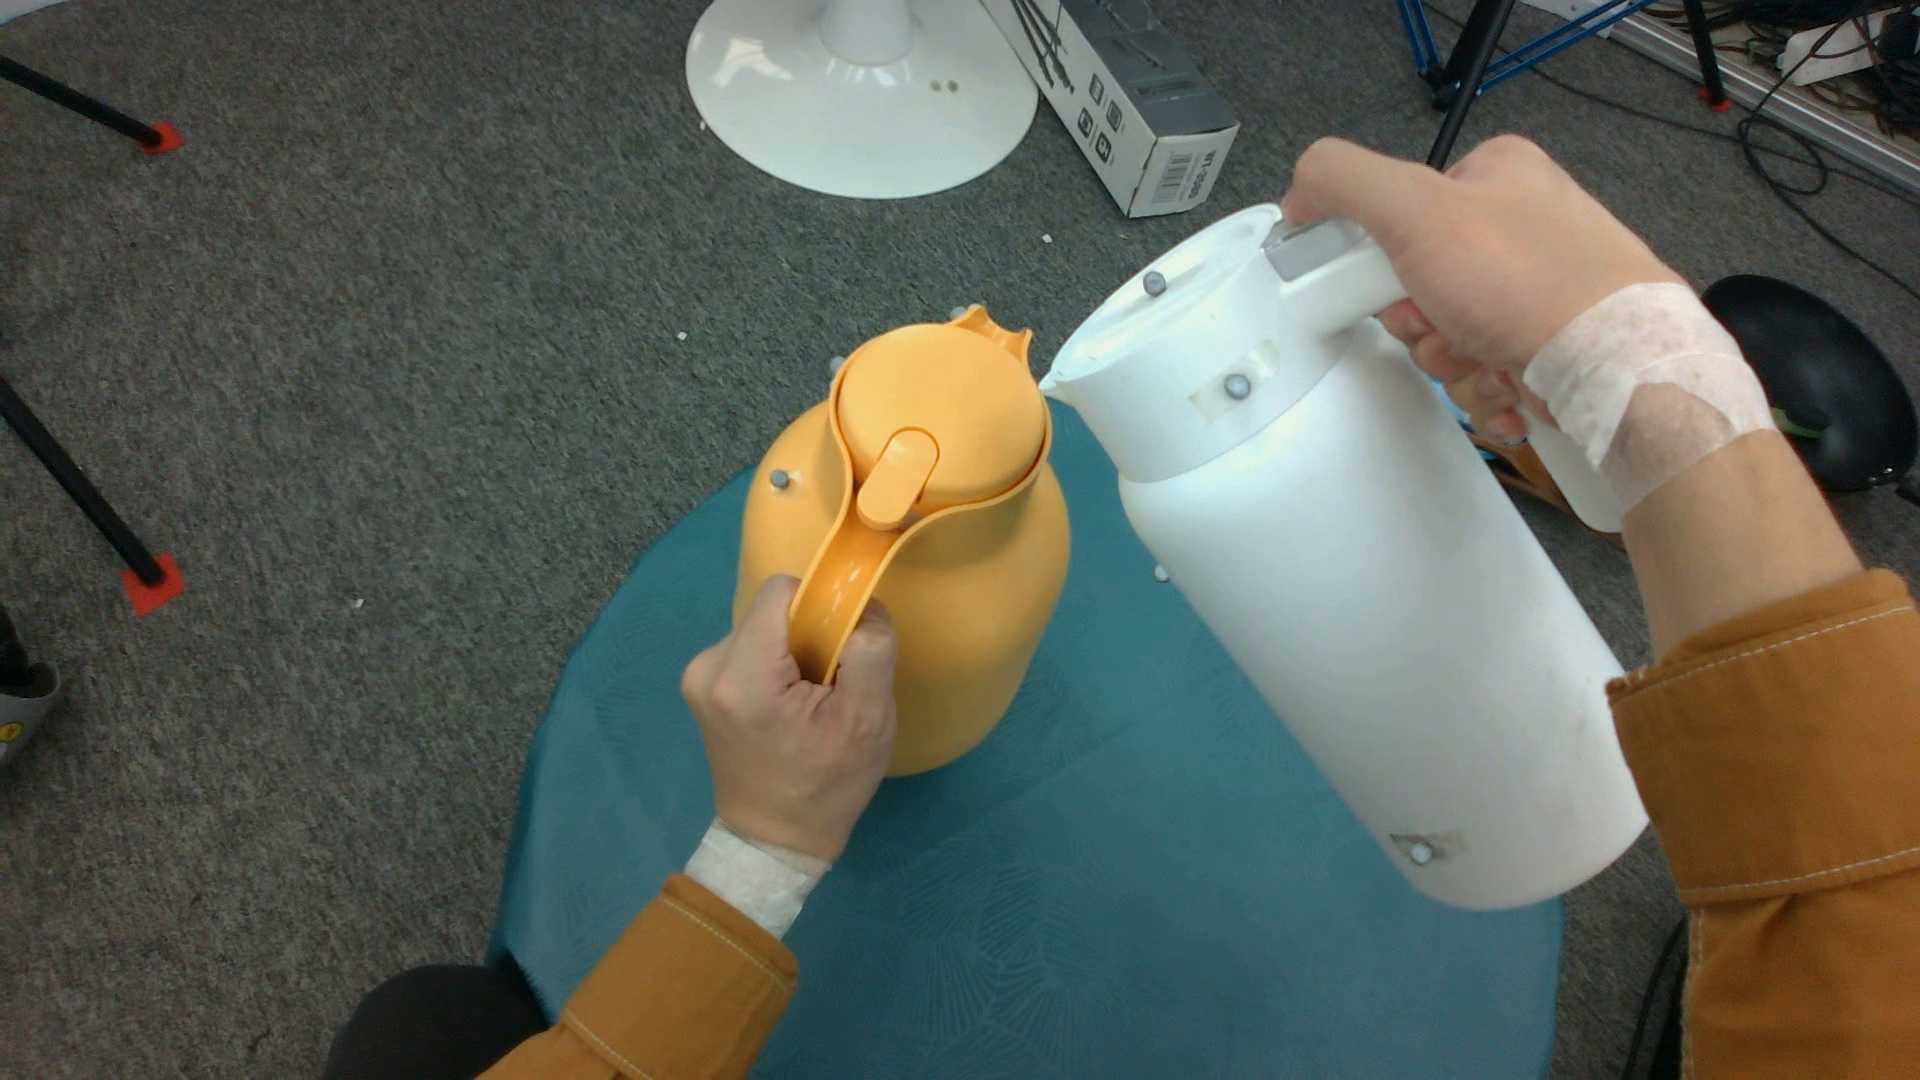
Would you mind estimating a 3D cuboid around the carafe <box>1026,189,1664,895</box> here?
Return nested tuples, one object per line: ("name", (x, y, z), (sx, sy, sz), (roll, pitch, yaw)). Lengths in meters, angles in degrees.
("carafe", (0.162, 0.000, 0.515), (0.268, 0.172, 0.124), (52, 45, -14))

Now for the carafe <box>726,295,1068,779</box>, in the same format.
("carafe", (-0.040, 0.015, 0.670), (0.163, 0.259, 0.203), (28, 56, 8))
